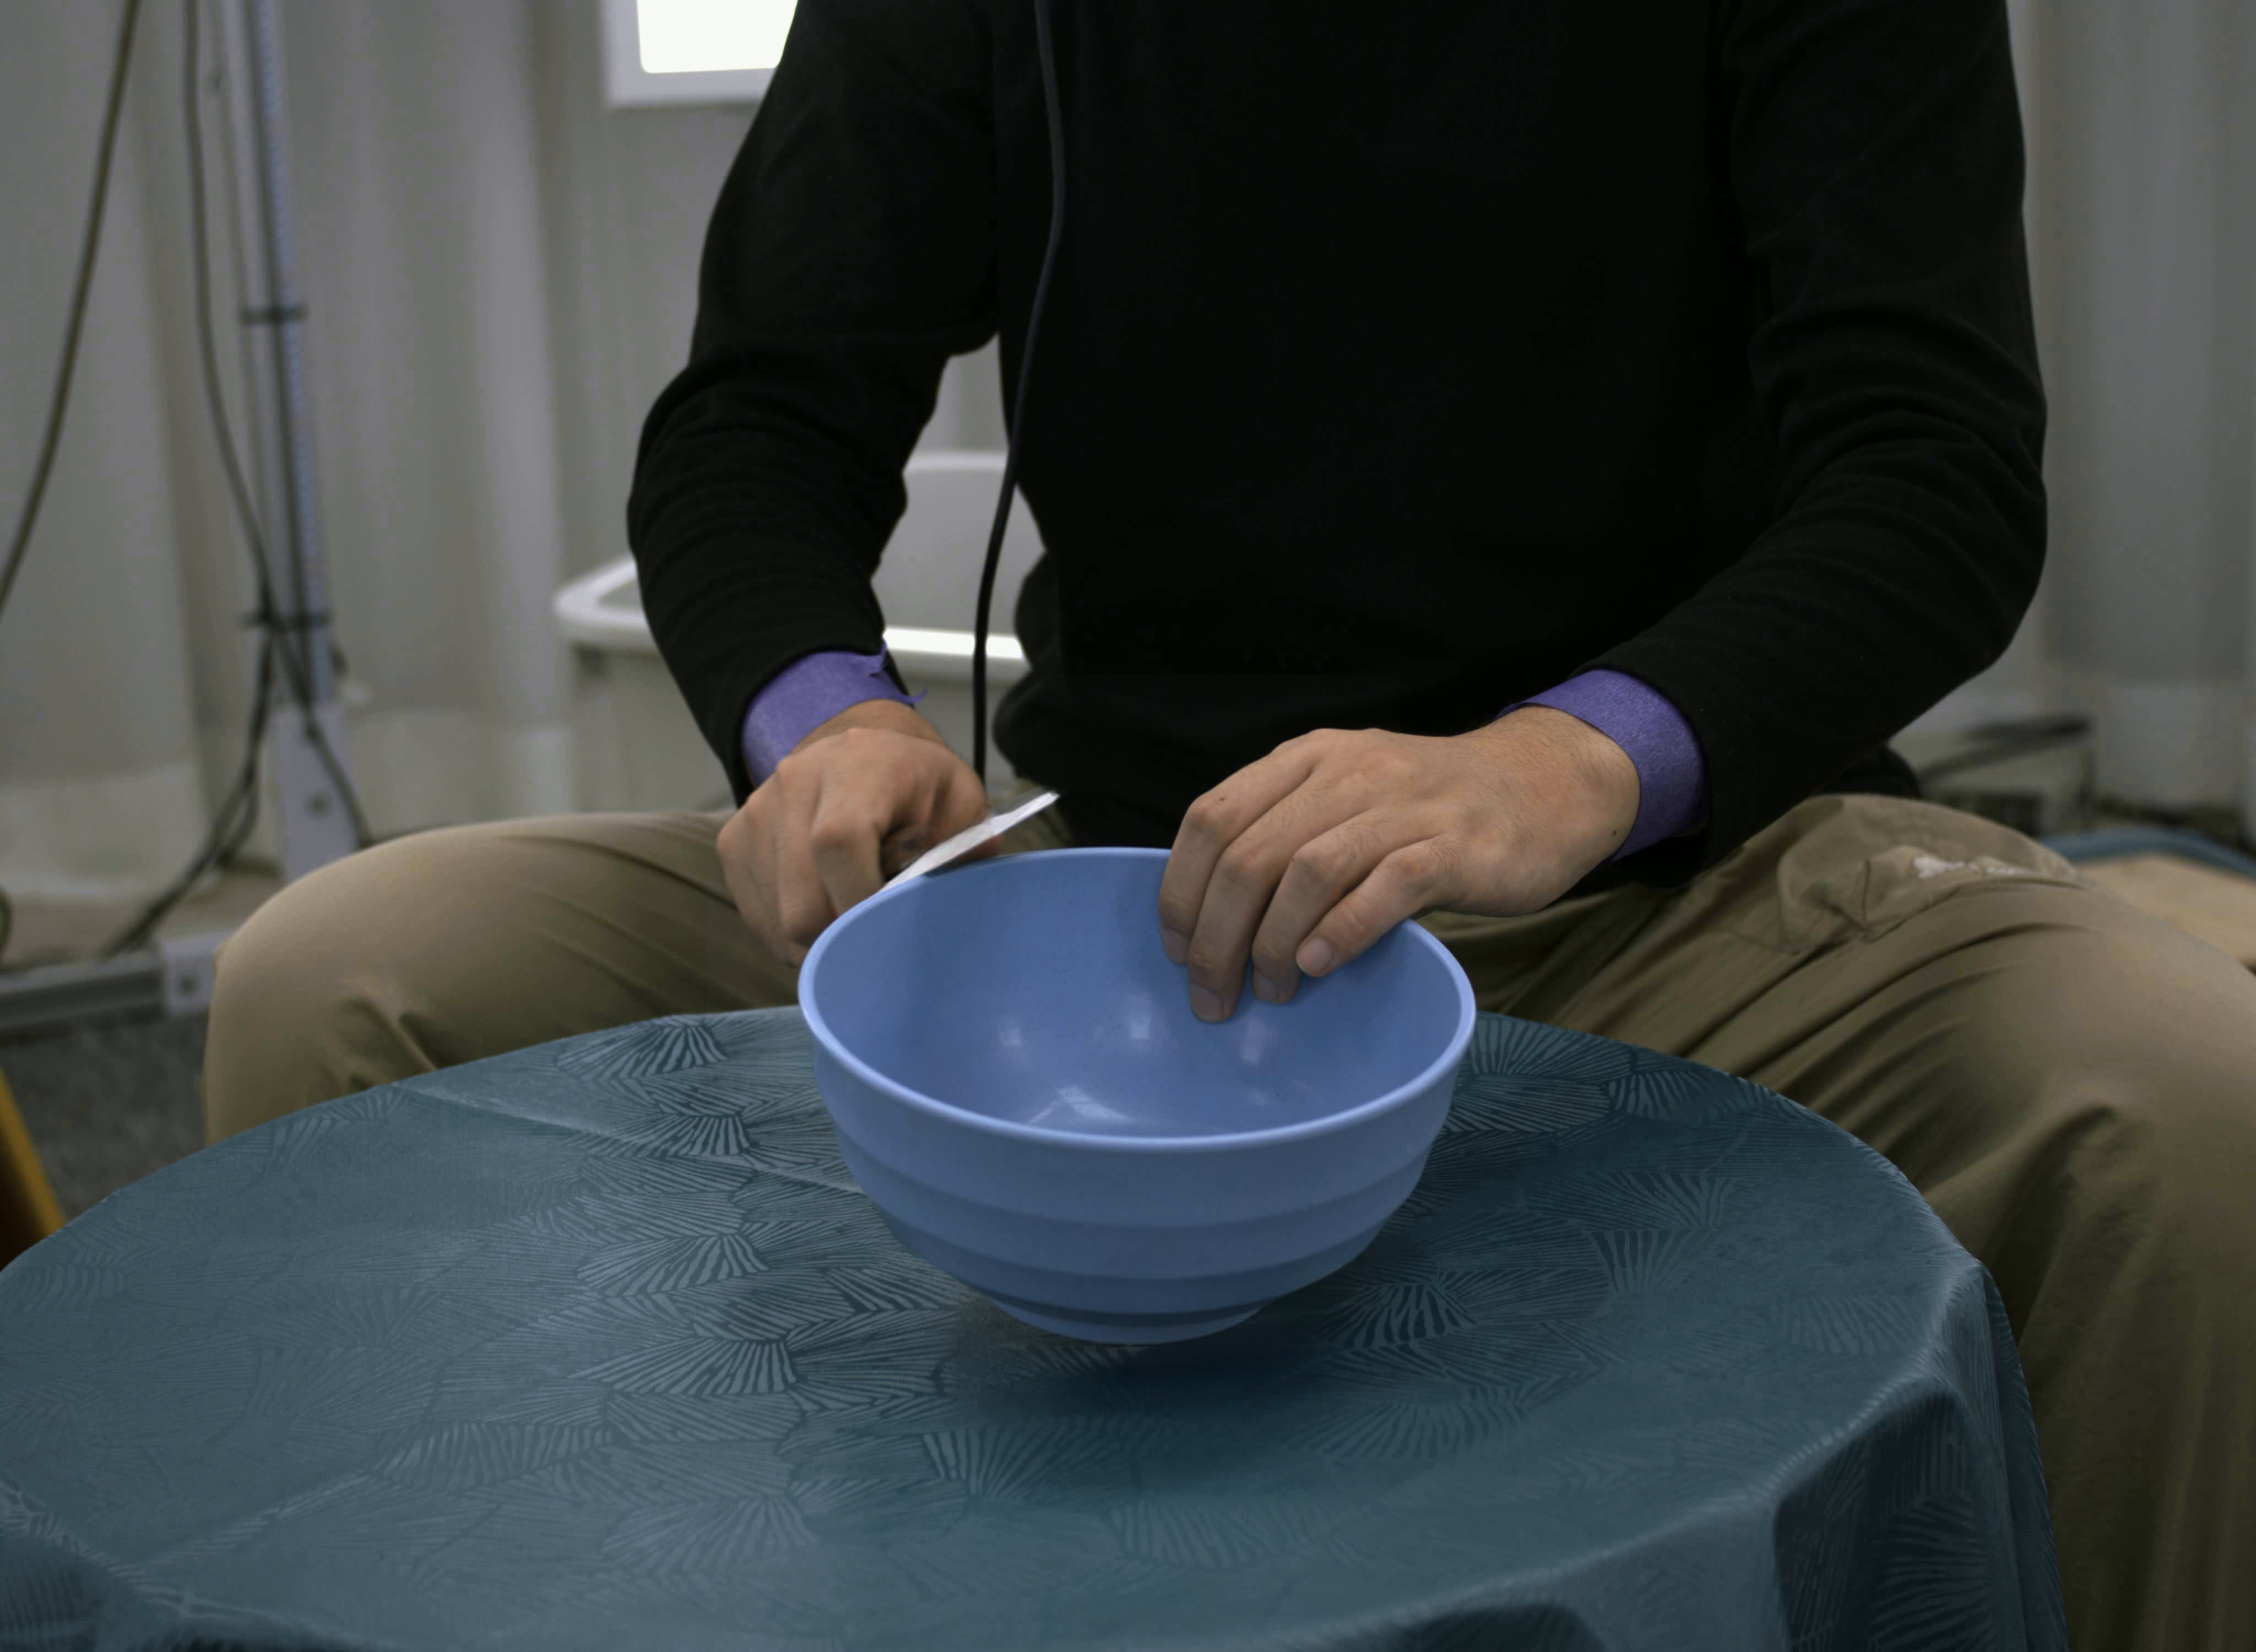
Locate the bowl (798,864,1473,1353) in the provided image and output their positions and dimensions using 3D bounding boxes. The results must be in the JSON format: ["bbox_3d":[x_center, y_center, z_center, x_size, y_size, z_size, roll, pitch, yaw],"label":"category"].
[{"bbox_3d":[0.001,0.091,1.601,0.196,0.095,0.198,2,22,-1],"label":"bowl"}]

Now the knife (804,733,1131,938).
[{"bbox_3d":[-0.052,0.005,1.686,0.050,0.020,0.288,-39,5,-20],"label":"knife"}]
